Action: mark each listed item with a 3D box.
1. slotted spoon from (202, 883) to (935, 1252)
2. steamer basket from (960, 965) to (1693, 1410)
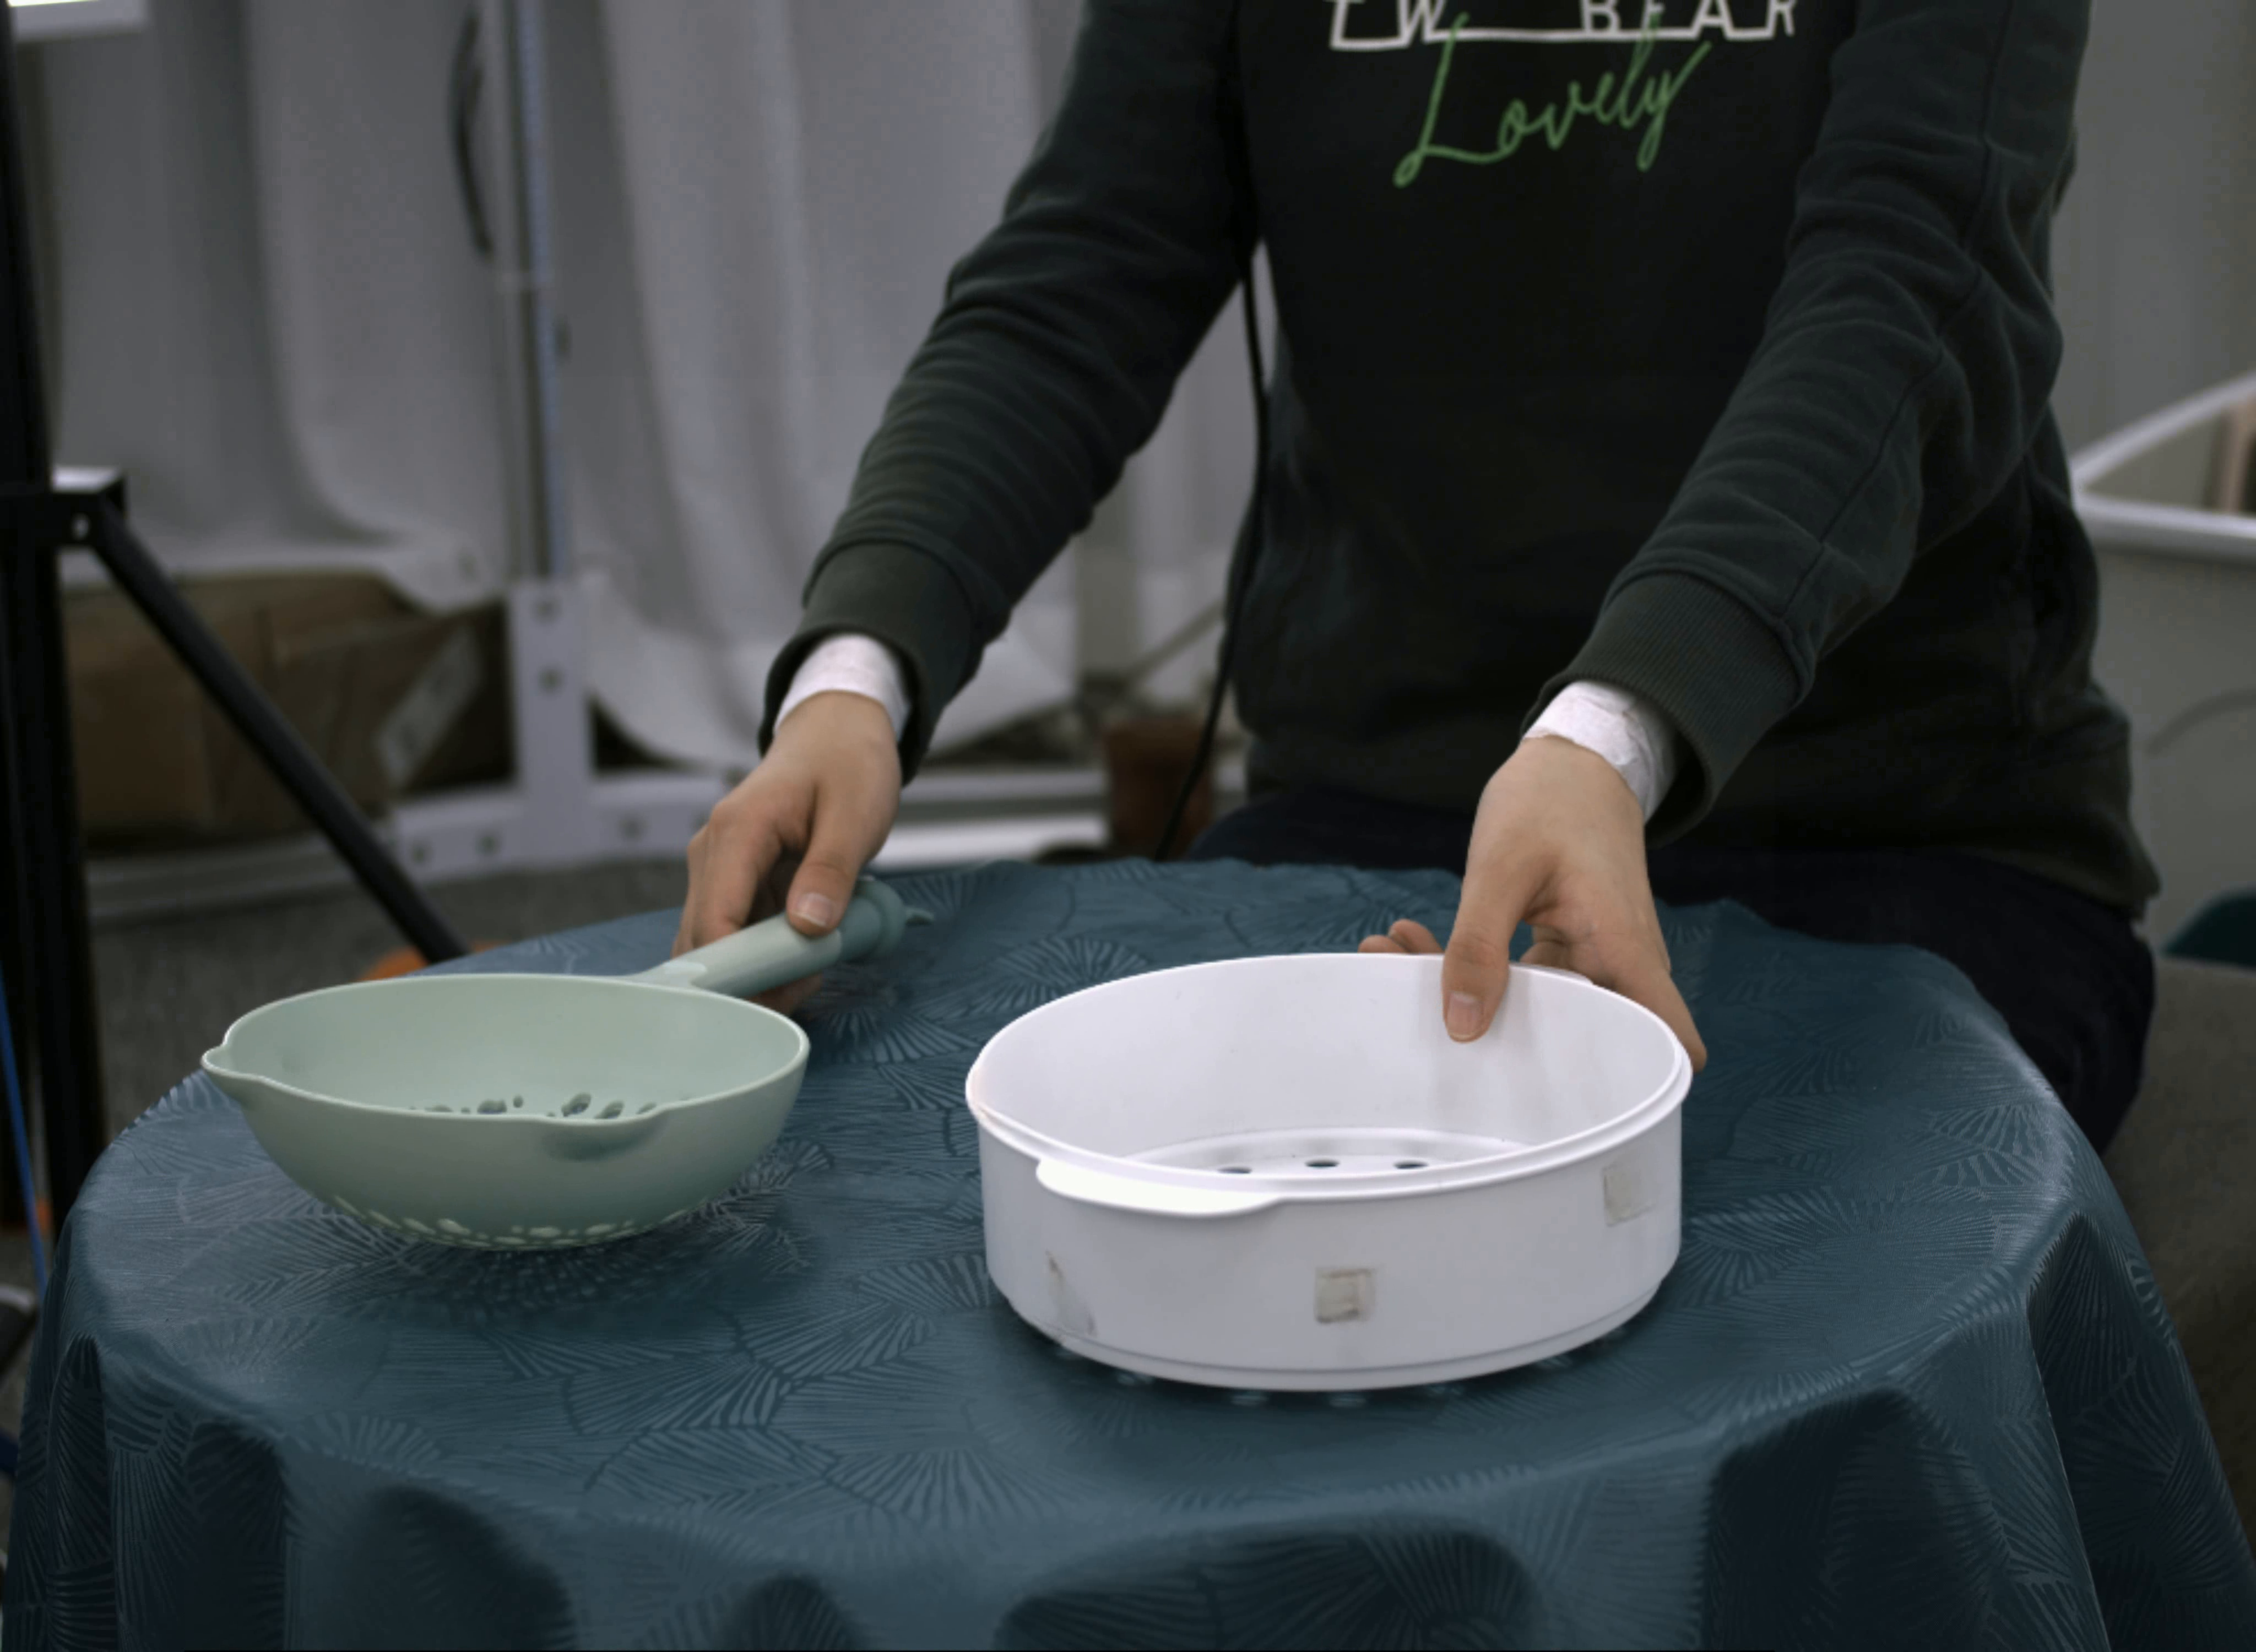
[{"bbox_3d":[-0.139,0.058,1.629,0.171,0.075,0.354,7,20,22],"label":"slotted spoon"},{"bbox_3d":[0.055,0.099,1.463,0.205,0.069,0.226,8,18,29],"label":"steamer basket"}]
